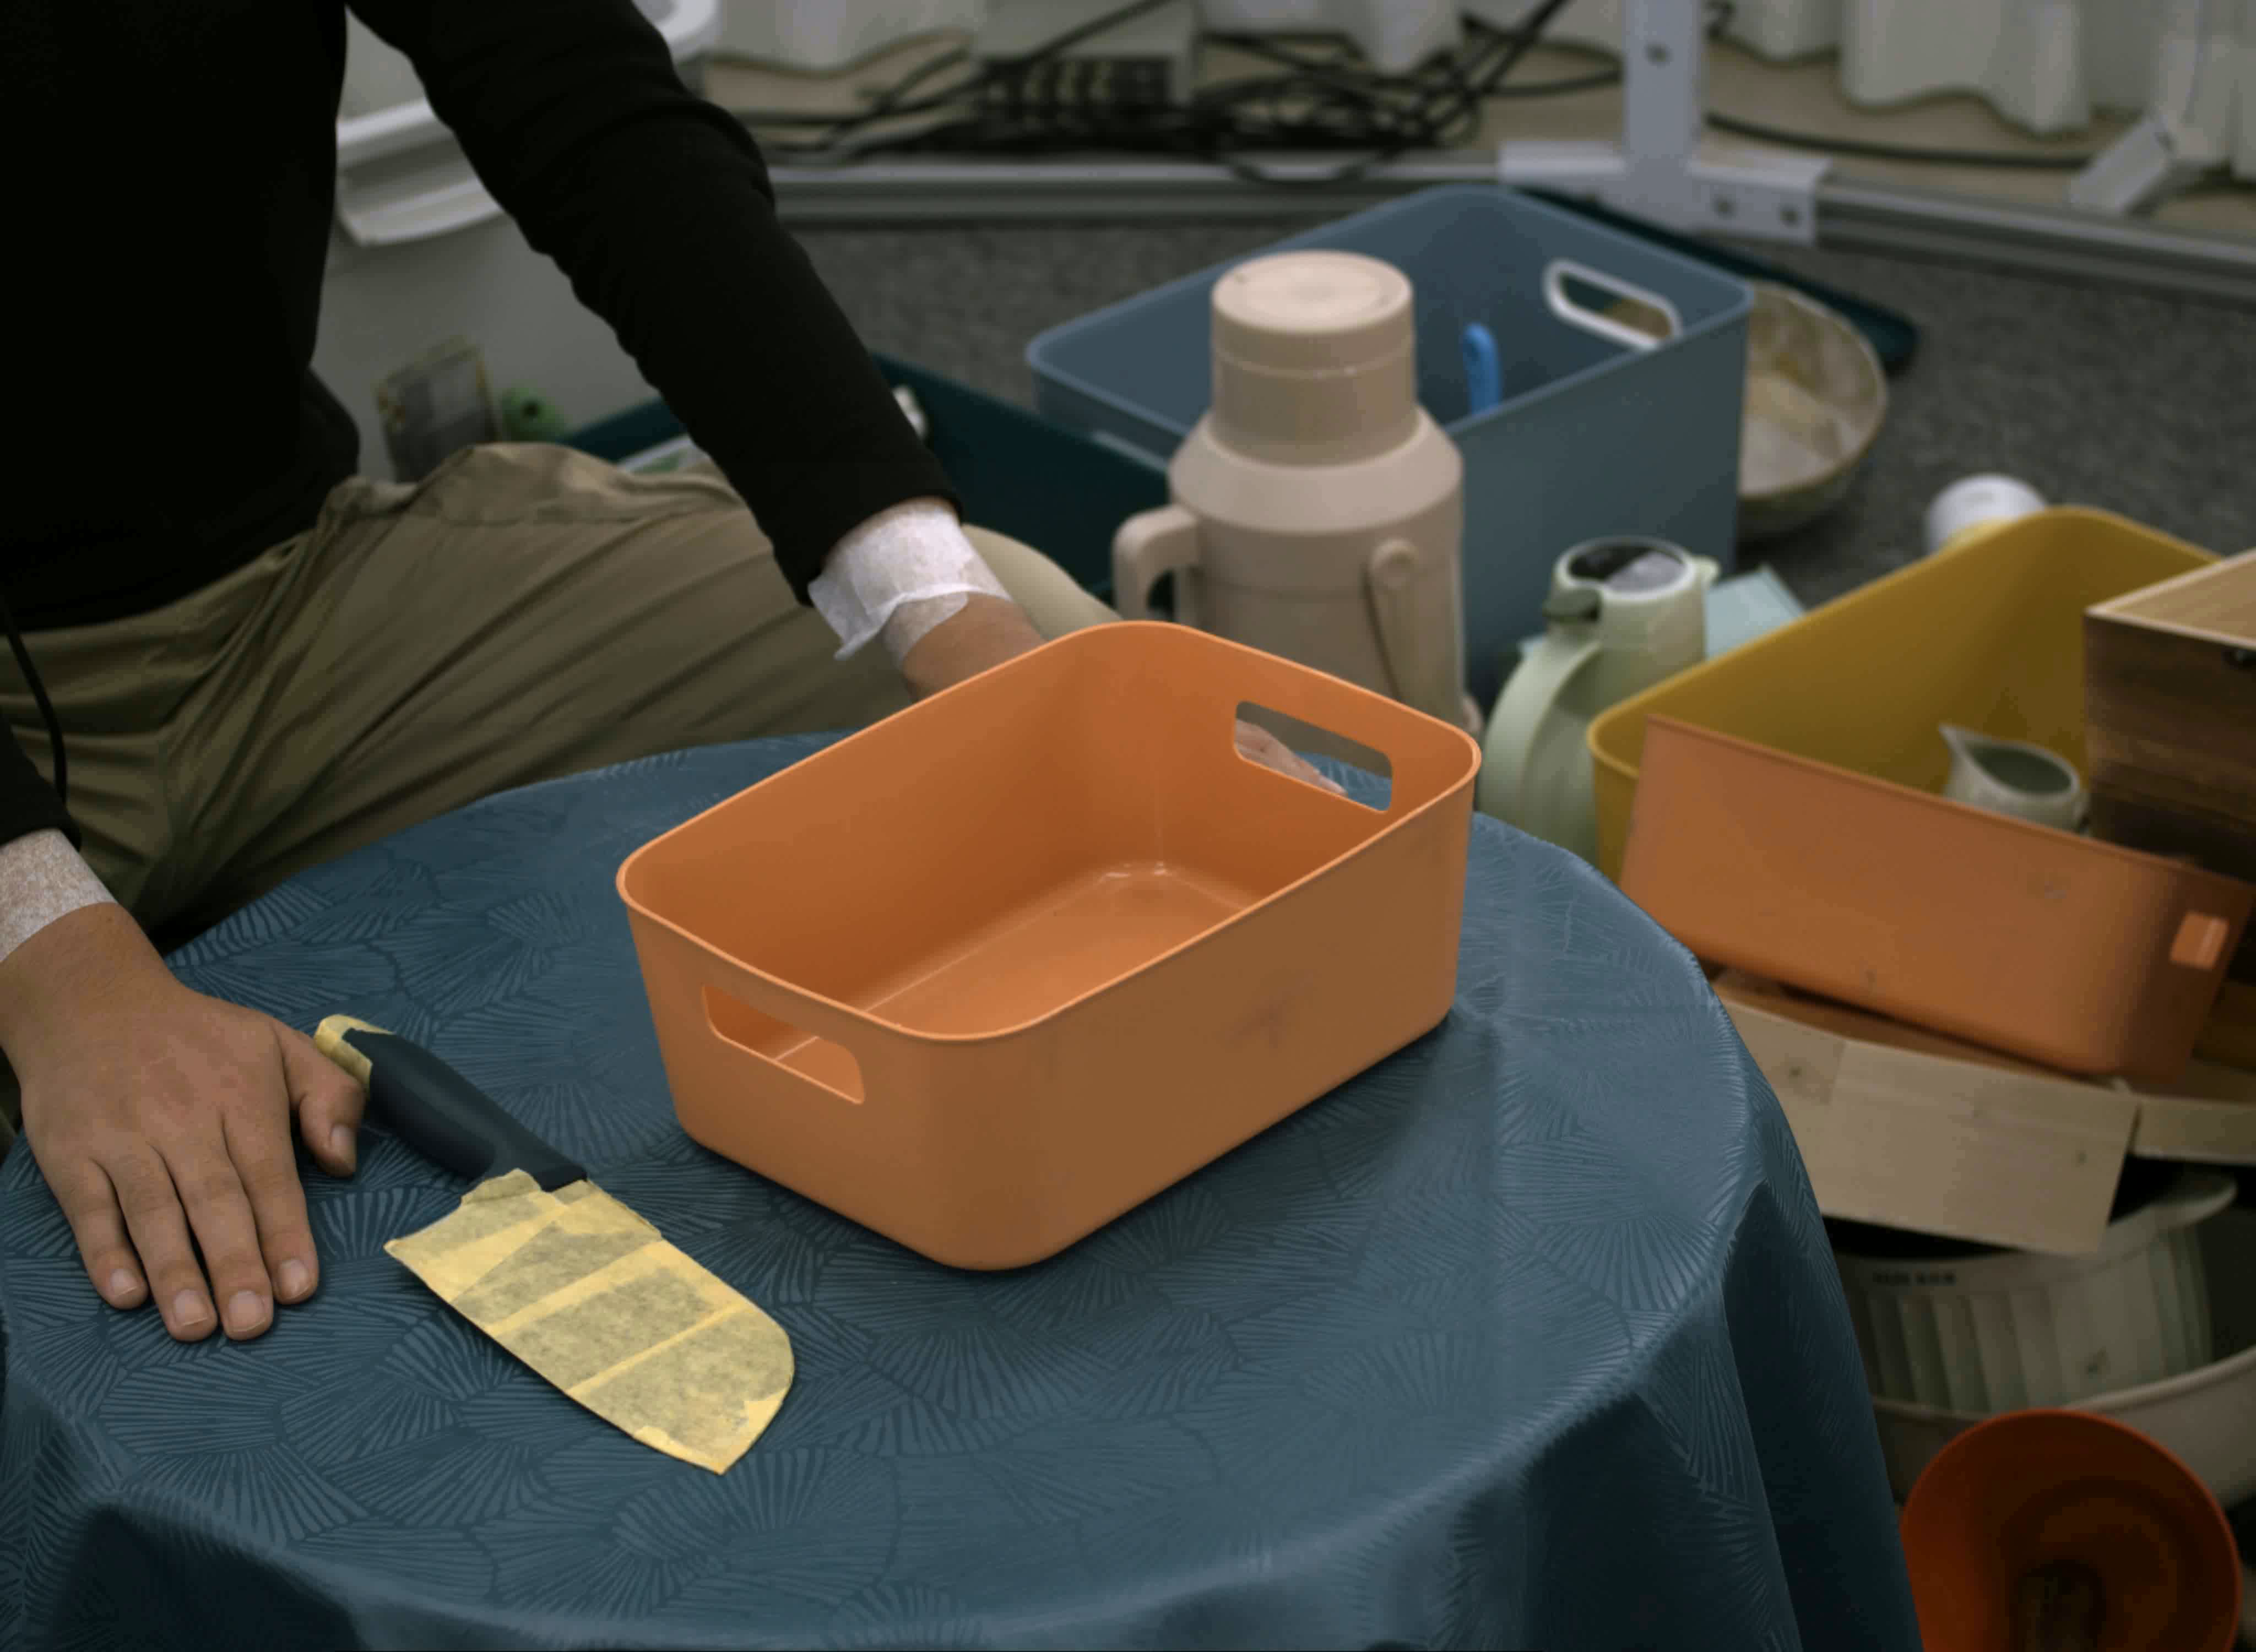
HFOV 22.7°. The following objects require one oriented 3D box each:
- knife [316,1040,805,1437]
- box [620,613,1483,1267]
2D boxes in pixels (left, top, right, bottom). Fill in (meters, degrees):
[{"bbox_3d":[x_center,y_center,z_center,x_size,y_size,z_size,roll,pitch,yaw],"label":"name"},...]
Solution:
[{"bbox_3d":[-0.198,0.136,1.839,0.082,0.027,0.290,-18,32,-31],"label":"knife"},{"bbox_3d":[-0.023,0.037,1.914,0.199,0.101,0.276,22,37,38],"label":"box"}]
